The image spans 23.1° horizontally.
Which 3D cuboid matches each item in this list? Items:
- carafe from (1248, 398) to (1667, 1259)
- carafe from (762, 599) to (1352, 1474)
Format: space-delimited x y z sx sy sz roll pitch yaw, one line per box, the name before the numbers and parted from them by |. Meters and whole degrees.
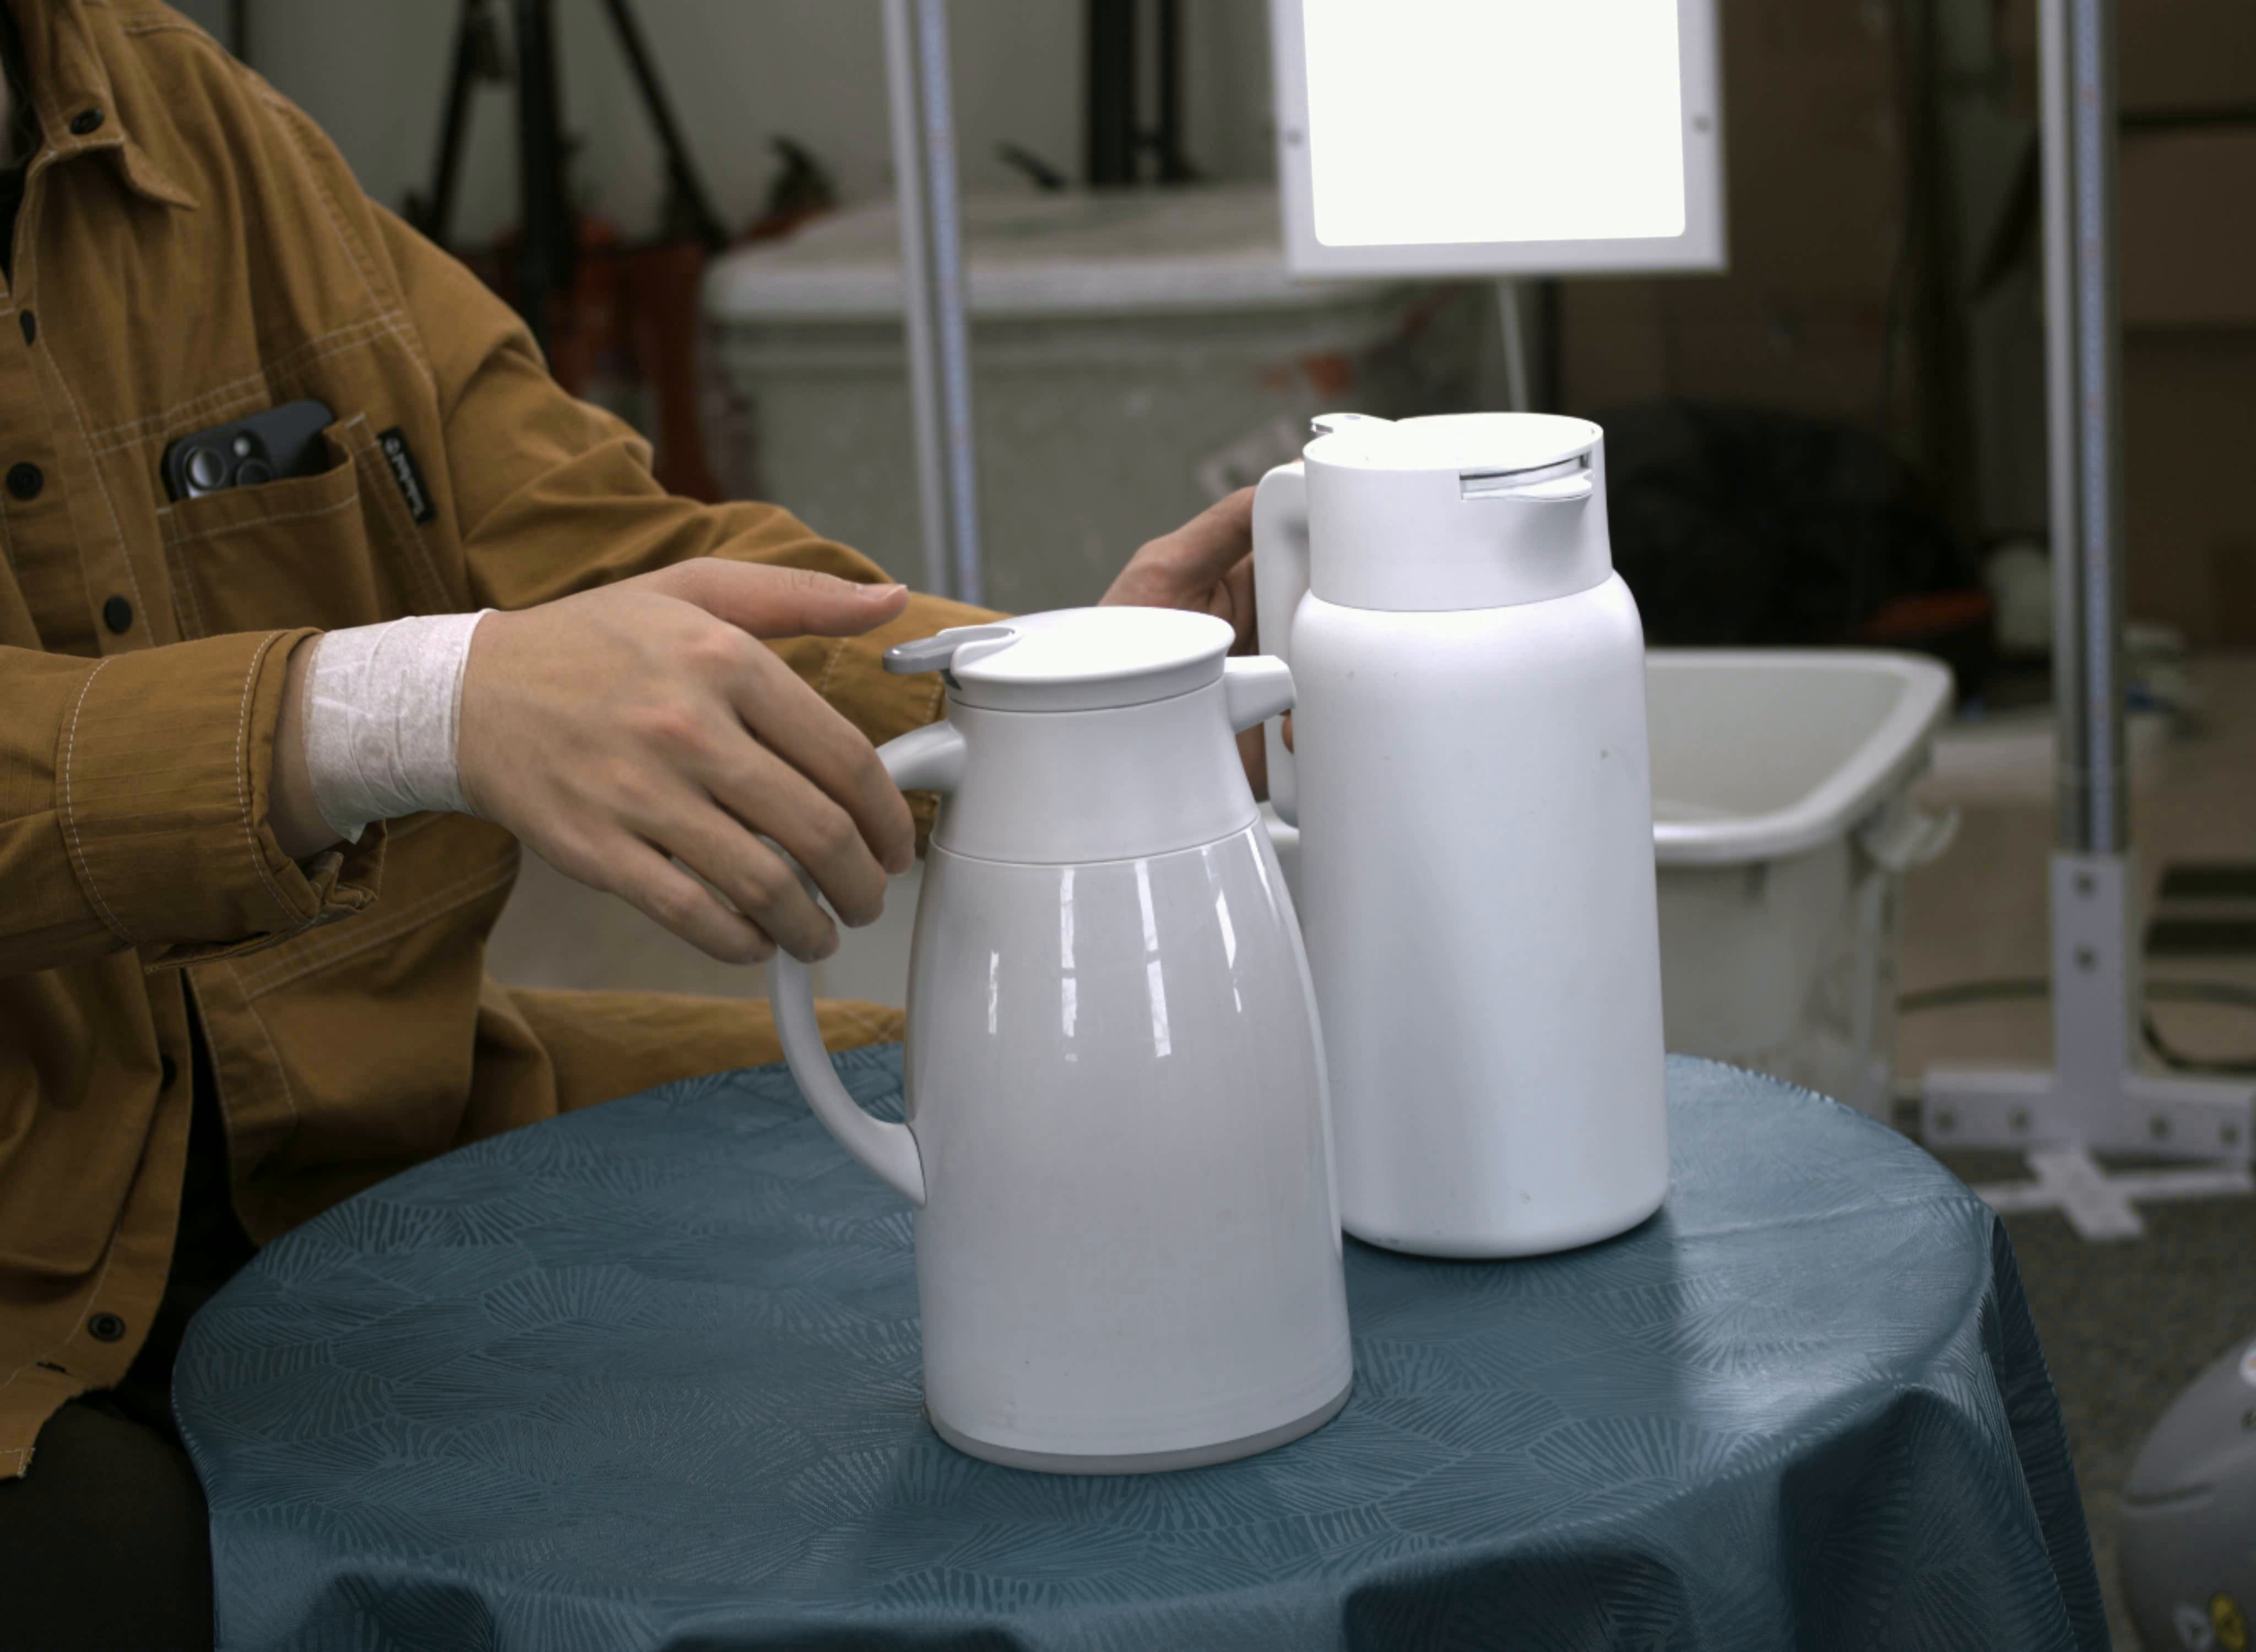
carafe | 0.103 -0.002 1.822 0.121 0.270 0.176 -15 17 -30
carafe | -0.024 0.060 1.659 0.166 0.249 0.133 -8 14 -11
